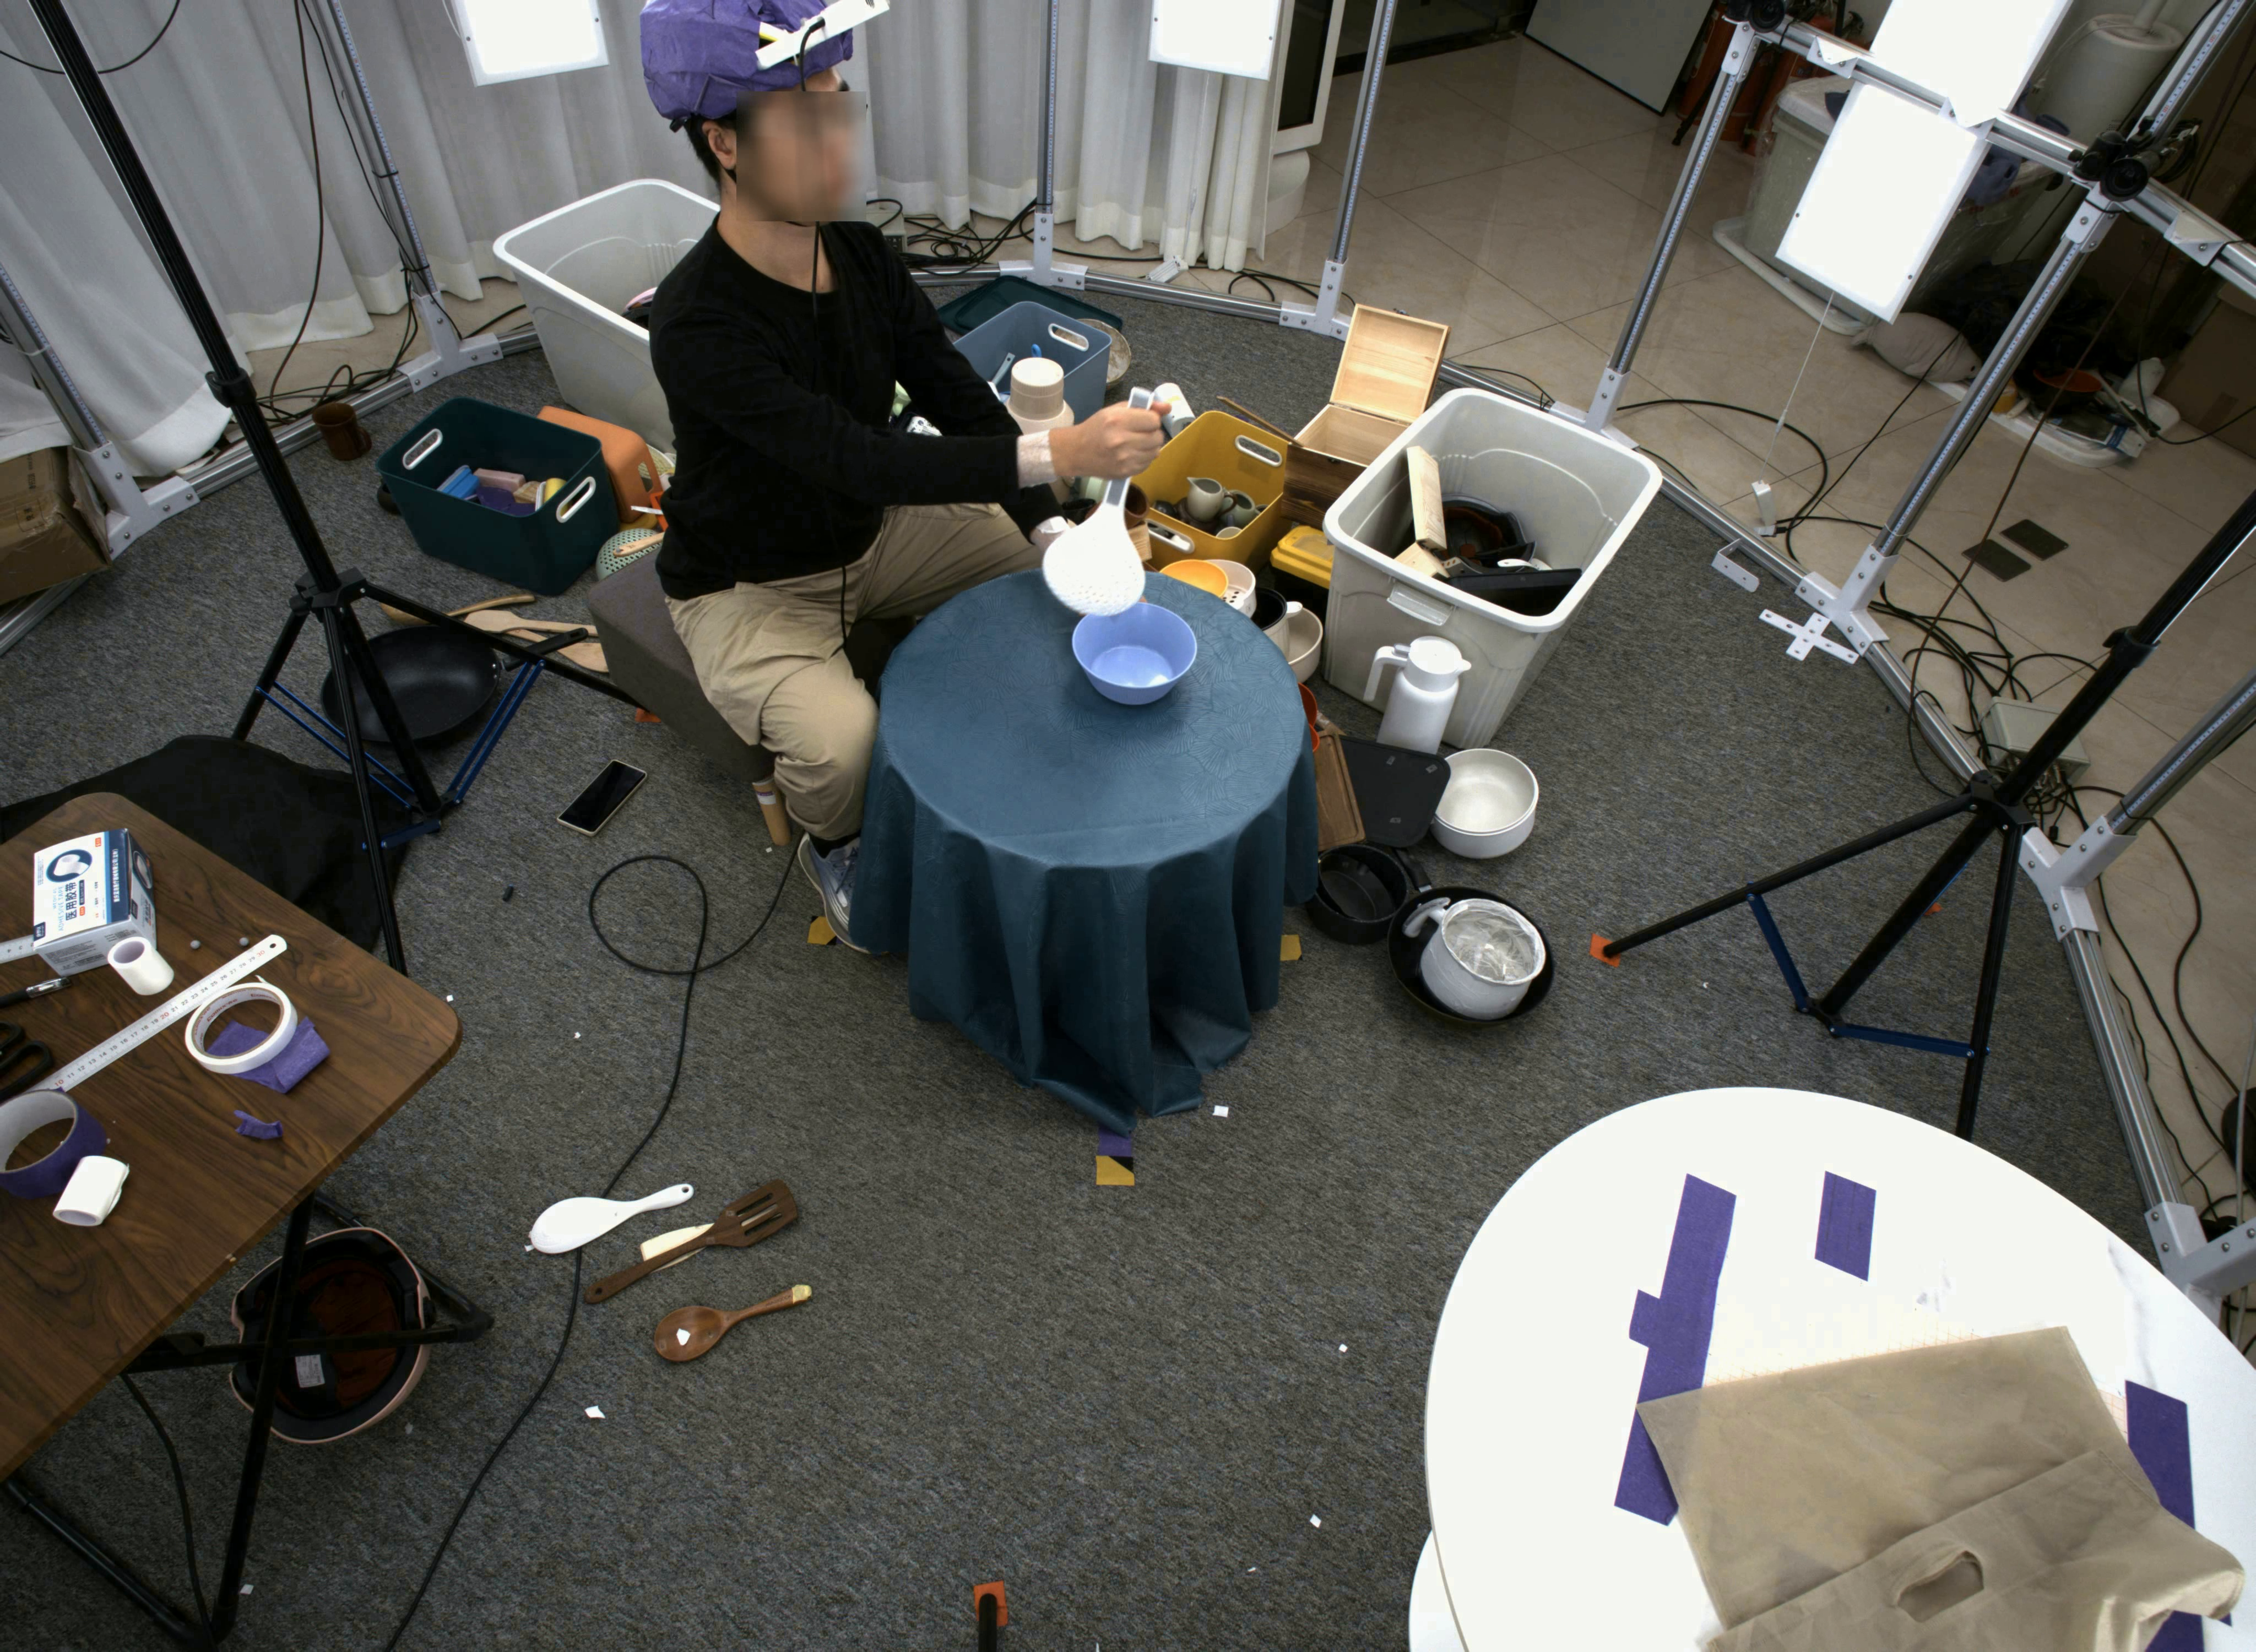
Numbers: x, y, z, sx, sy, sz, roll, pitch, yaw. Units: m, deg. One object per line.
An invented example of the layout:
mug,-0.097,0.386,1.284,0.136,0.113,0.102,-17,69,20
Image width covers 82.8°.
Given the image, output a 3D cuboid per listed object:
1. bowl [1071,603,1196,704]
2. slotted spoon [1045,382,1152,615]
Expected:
bowl,0.007,-0.237,1.831,0.176,0.068,0.180,1,49,-2
slotted spoon,-0.020,-0.392,1.598,0.136,0.342,0.047,19,44,-1
